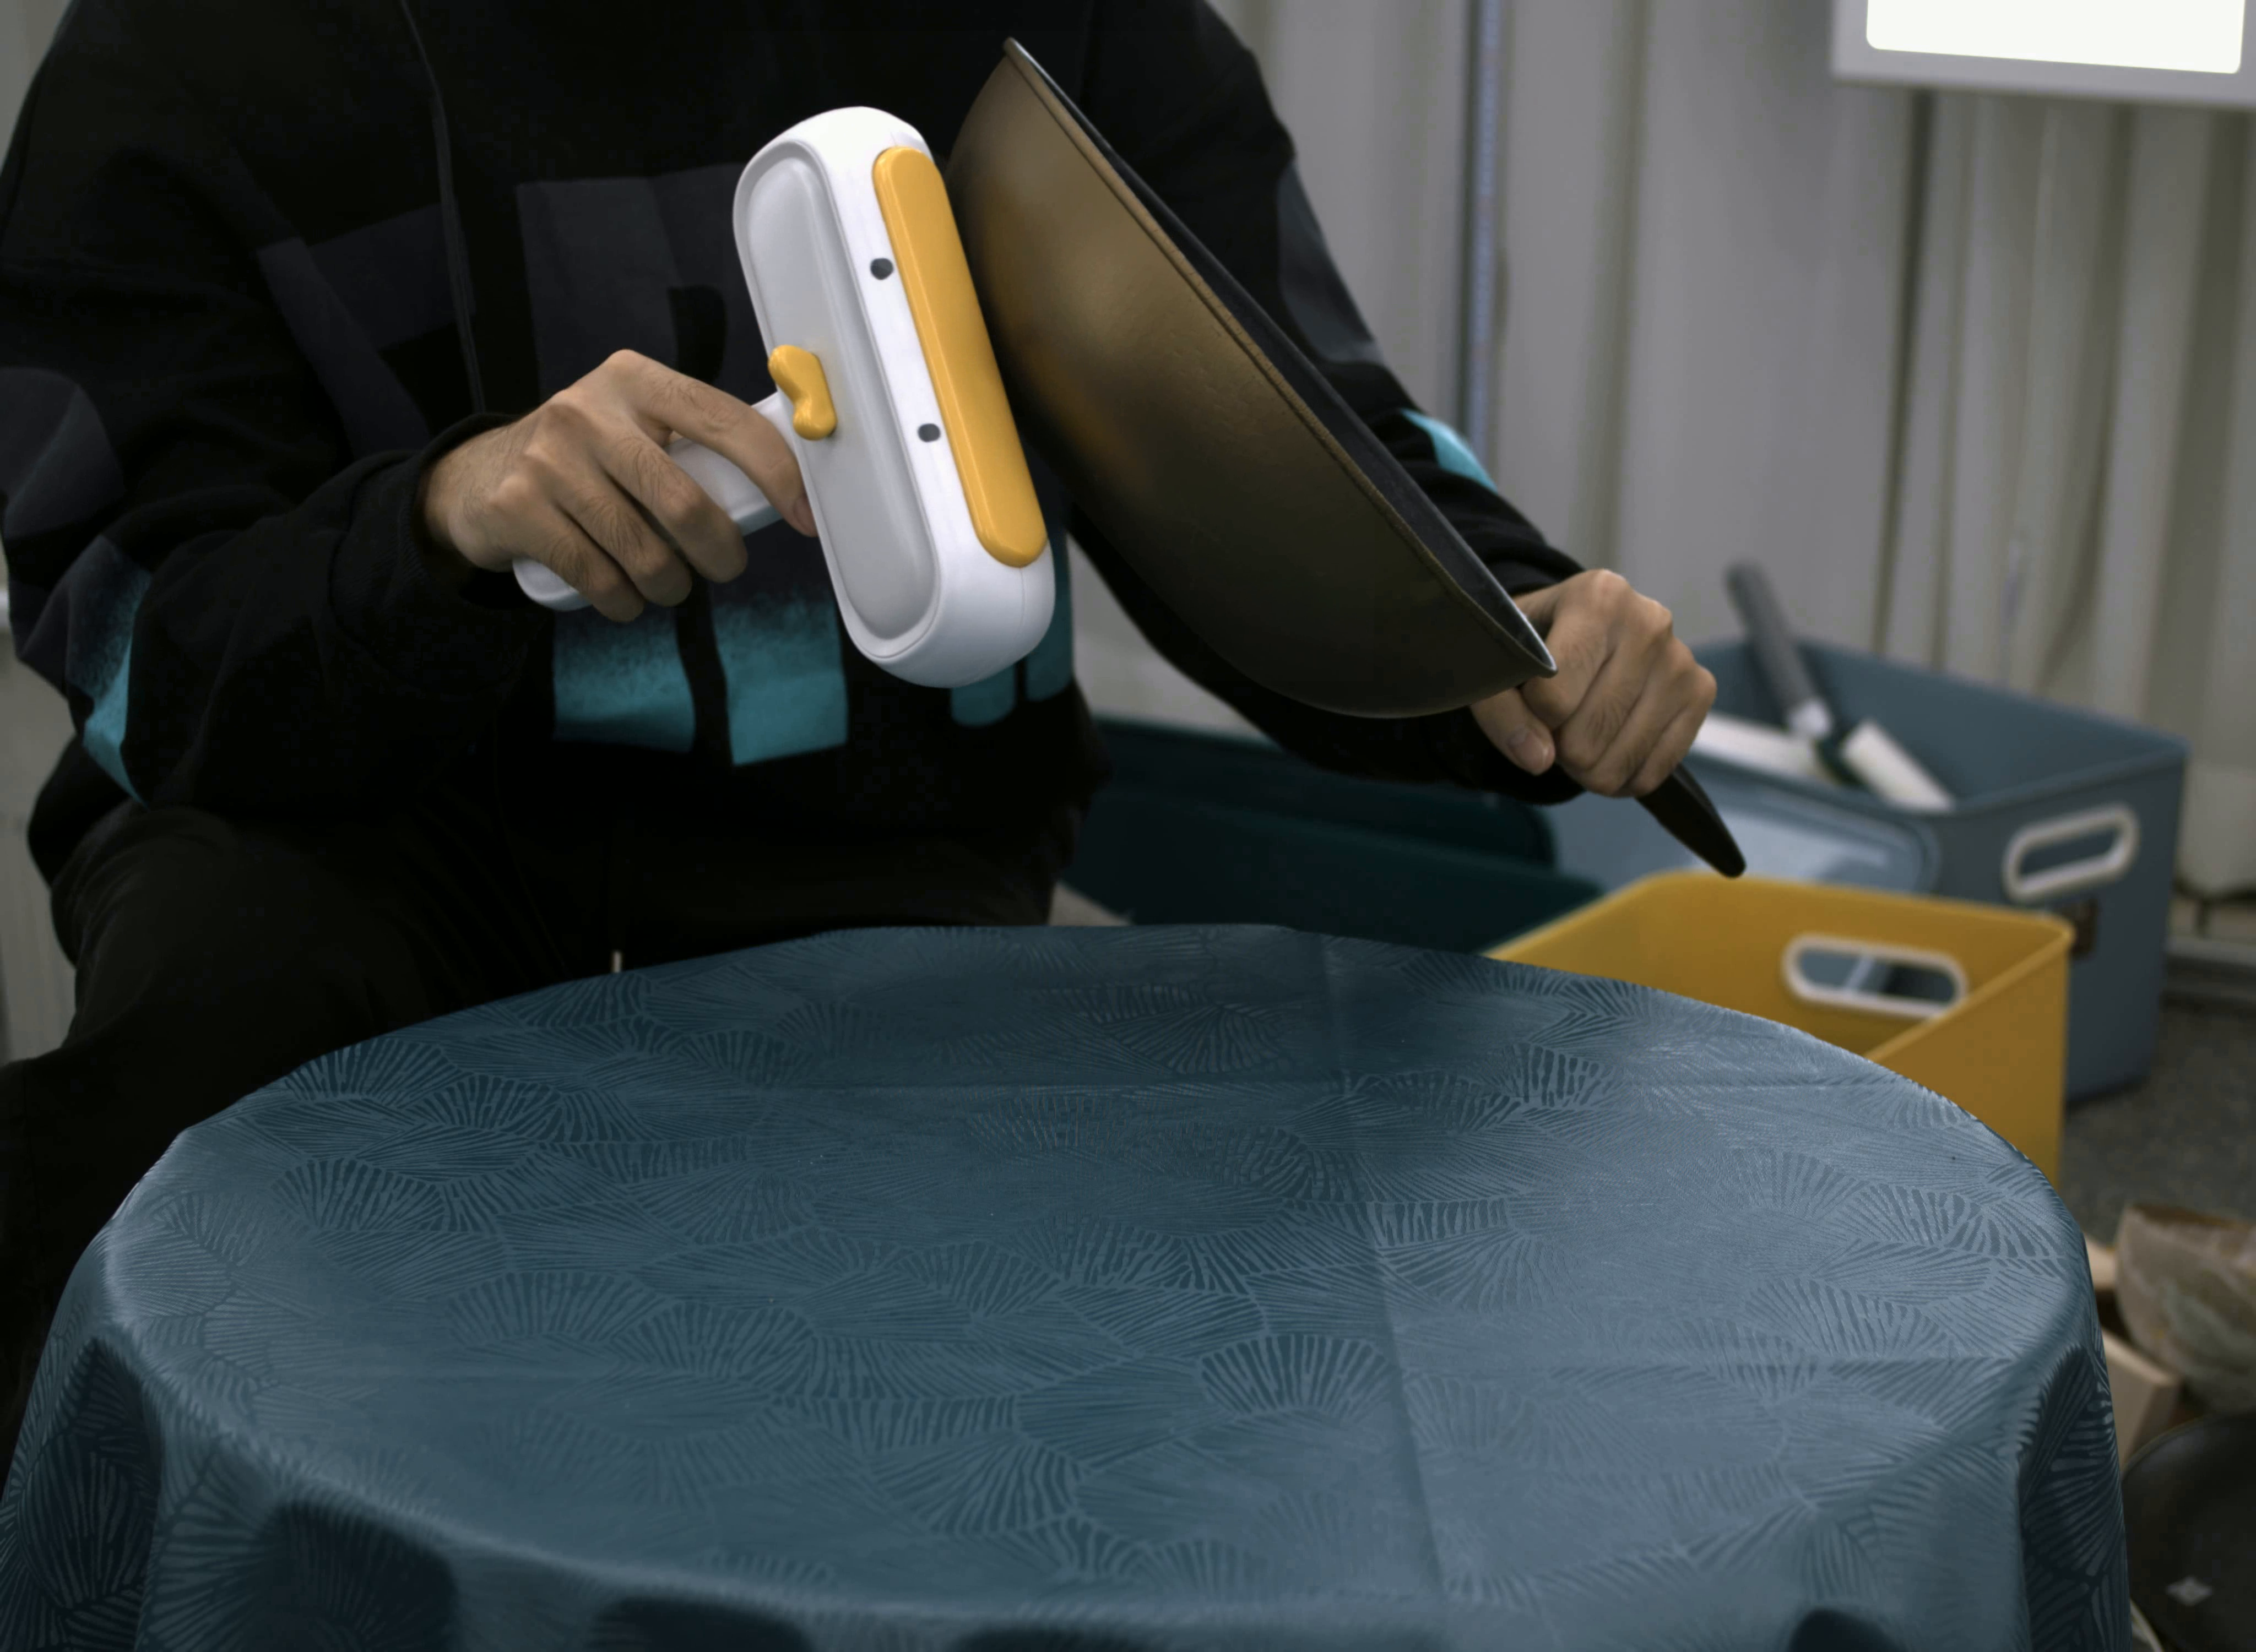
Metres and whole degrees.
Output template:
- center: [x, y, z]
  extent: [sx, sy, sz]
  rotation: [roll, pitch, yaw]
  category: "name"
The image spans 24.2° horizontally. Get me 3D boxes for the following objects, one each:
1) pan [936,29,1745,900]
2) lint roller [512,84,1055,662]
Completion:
- center: [0.073, -0.085, 1.821]
  extent: [0.087, 0.470, 0.284]
  rotation: [-41, 42, 5]
  category: "pan"
- center: [-0.122, -0.121, 1.719]
  extent: [0.191, 0.192, 0.074]
  rotation: [-31, -13, 36]
  category: "lint roller"
